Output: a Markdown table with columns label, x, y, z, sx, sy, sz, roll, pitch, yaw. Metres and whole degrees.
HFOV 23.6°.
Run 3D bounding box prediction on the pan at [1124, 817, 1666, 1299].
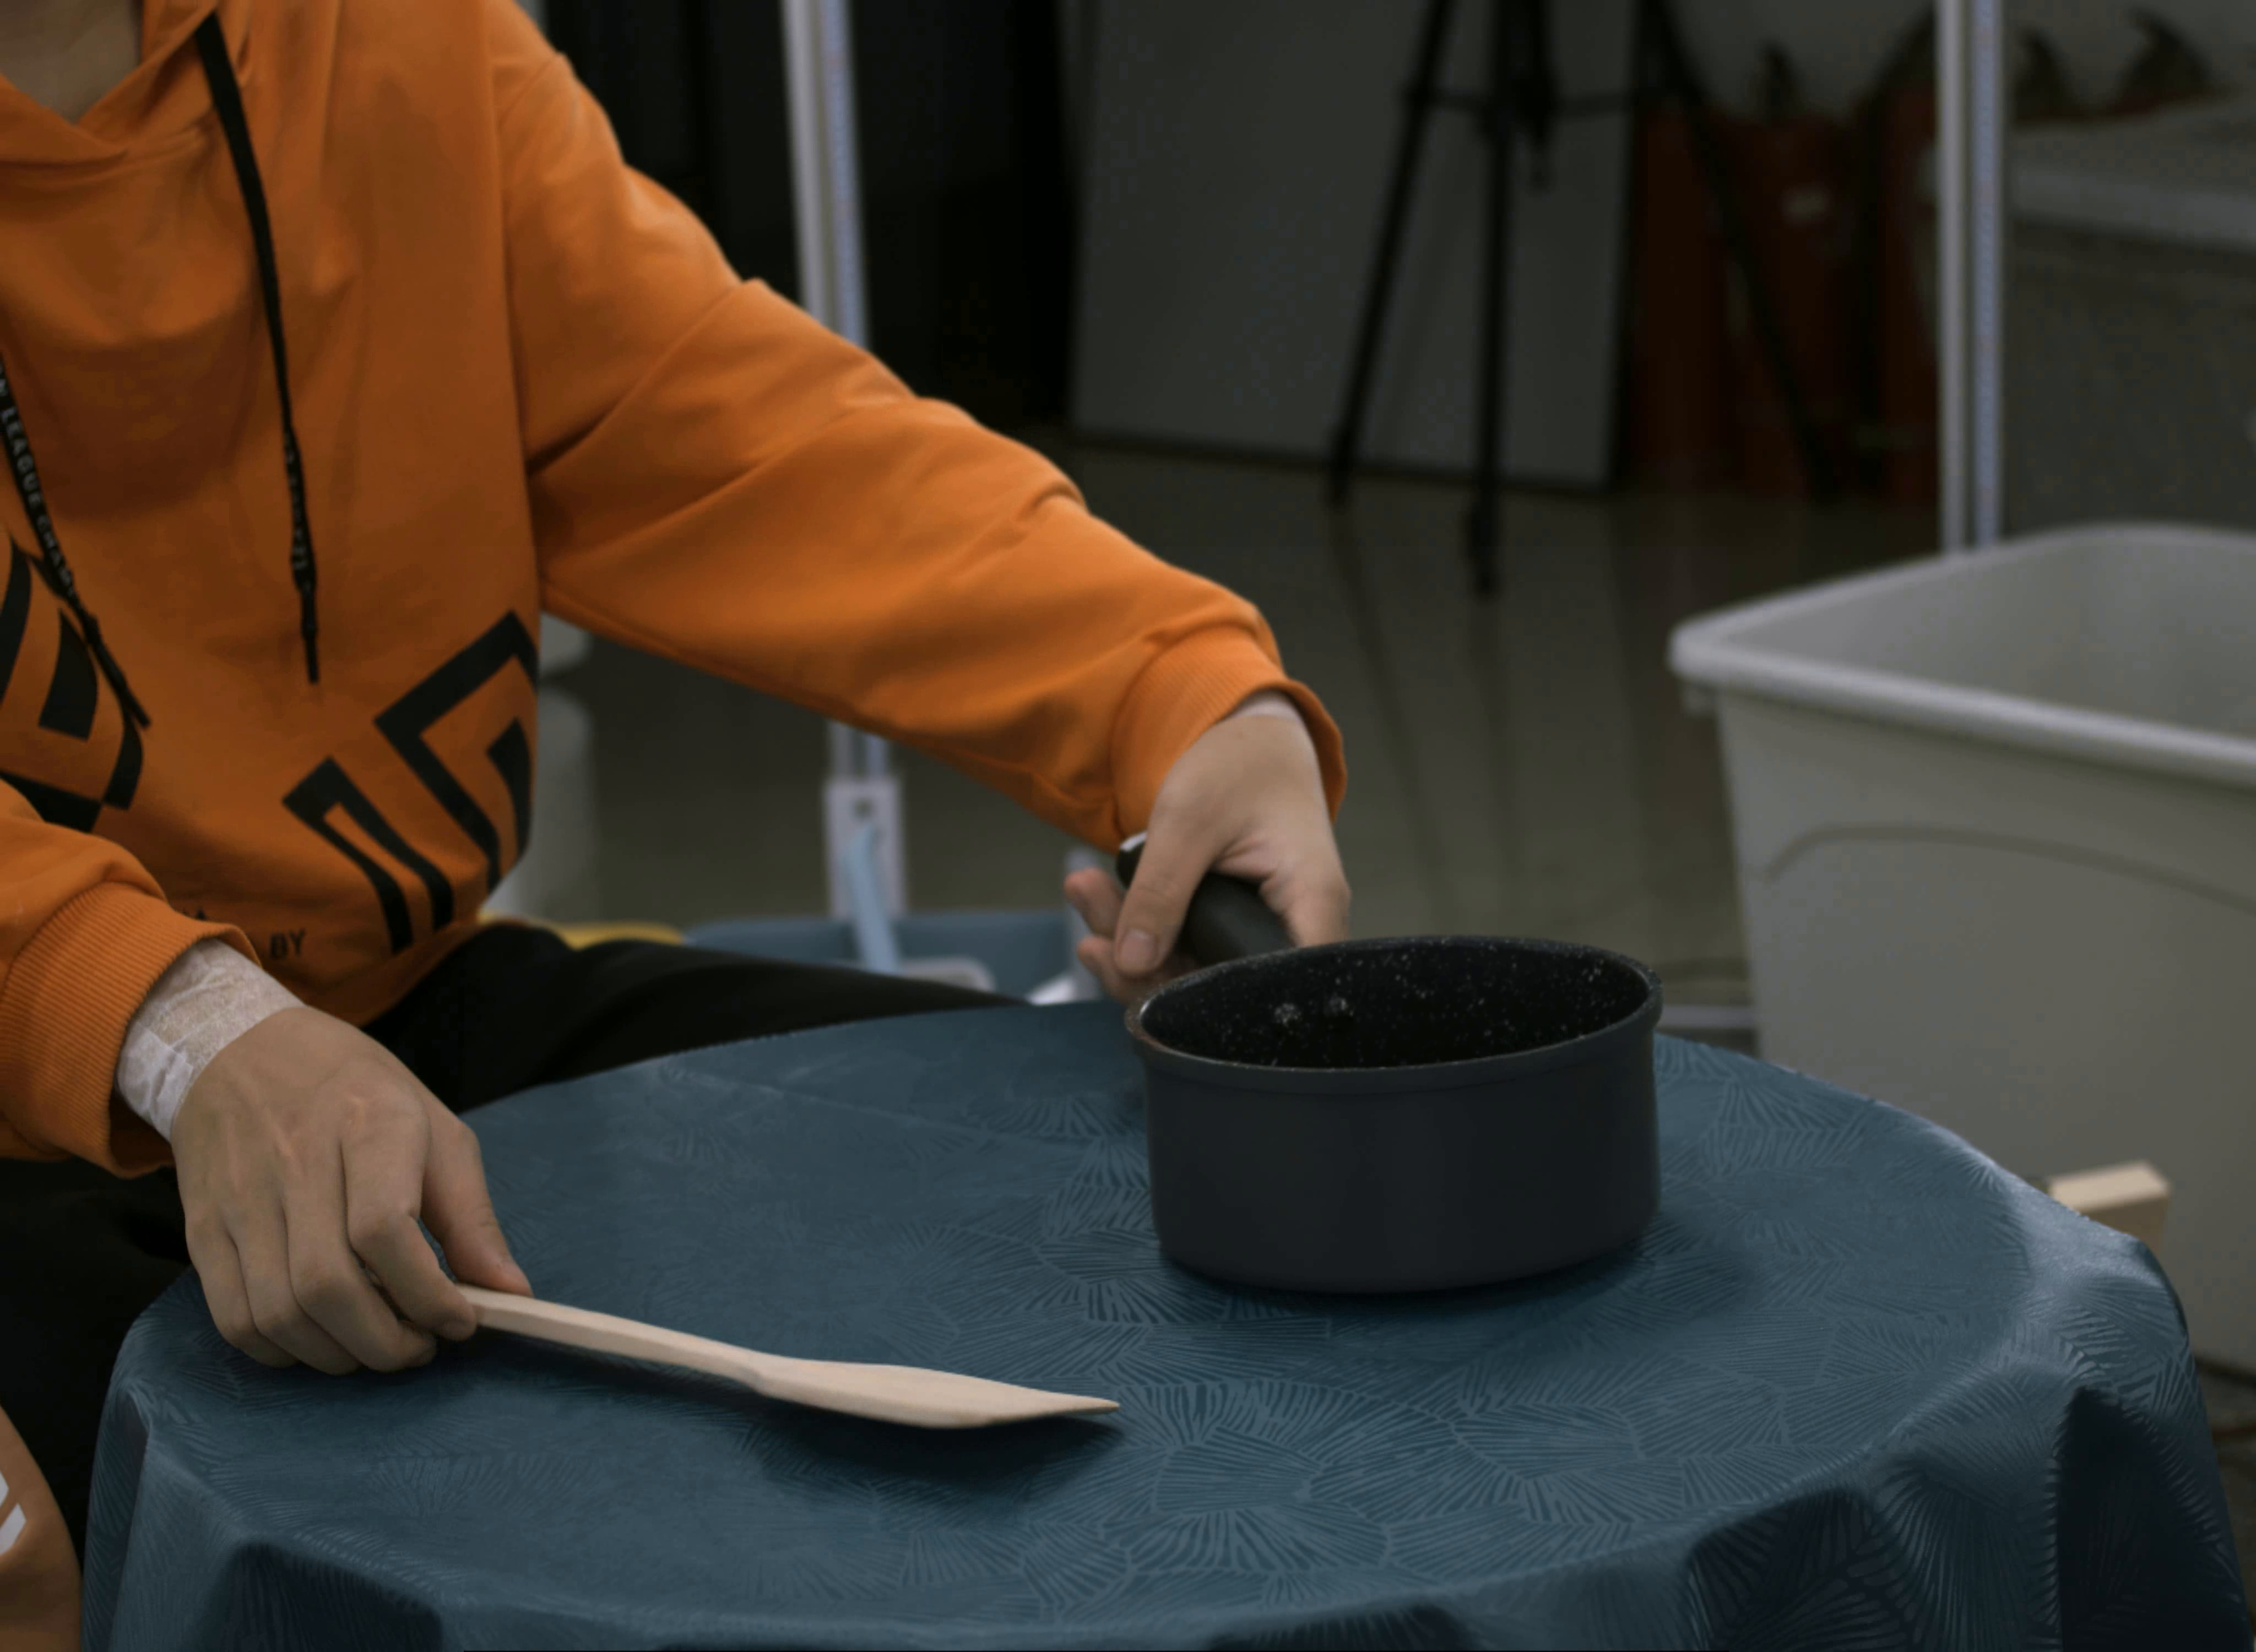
| label | x | y | z | sx | sy | sz | roll | pitch | yaw |
| --- | --- | --- | --- | --- | --- | --- | --- | --- | --- |
| pan | 0.066 | 0.072 | 1.775 | 0.169 | 0.087 | 0.331 | -7 | 13 | -13 |

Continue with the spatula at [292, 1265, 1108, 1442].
| label | x | y | z | sx | sy | sz | roll | pitch | yaw |
| --- | --- | --- | --- | --- | --- | --- | --- | --- | --- |
| spatula | -0.140 | 0.157 | 1.616 | 0.295 | 0.011 | 0.071 | 7 | 7 | 36 |
